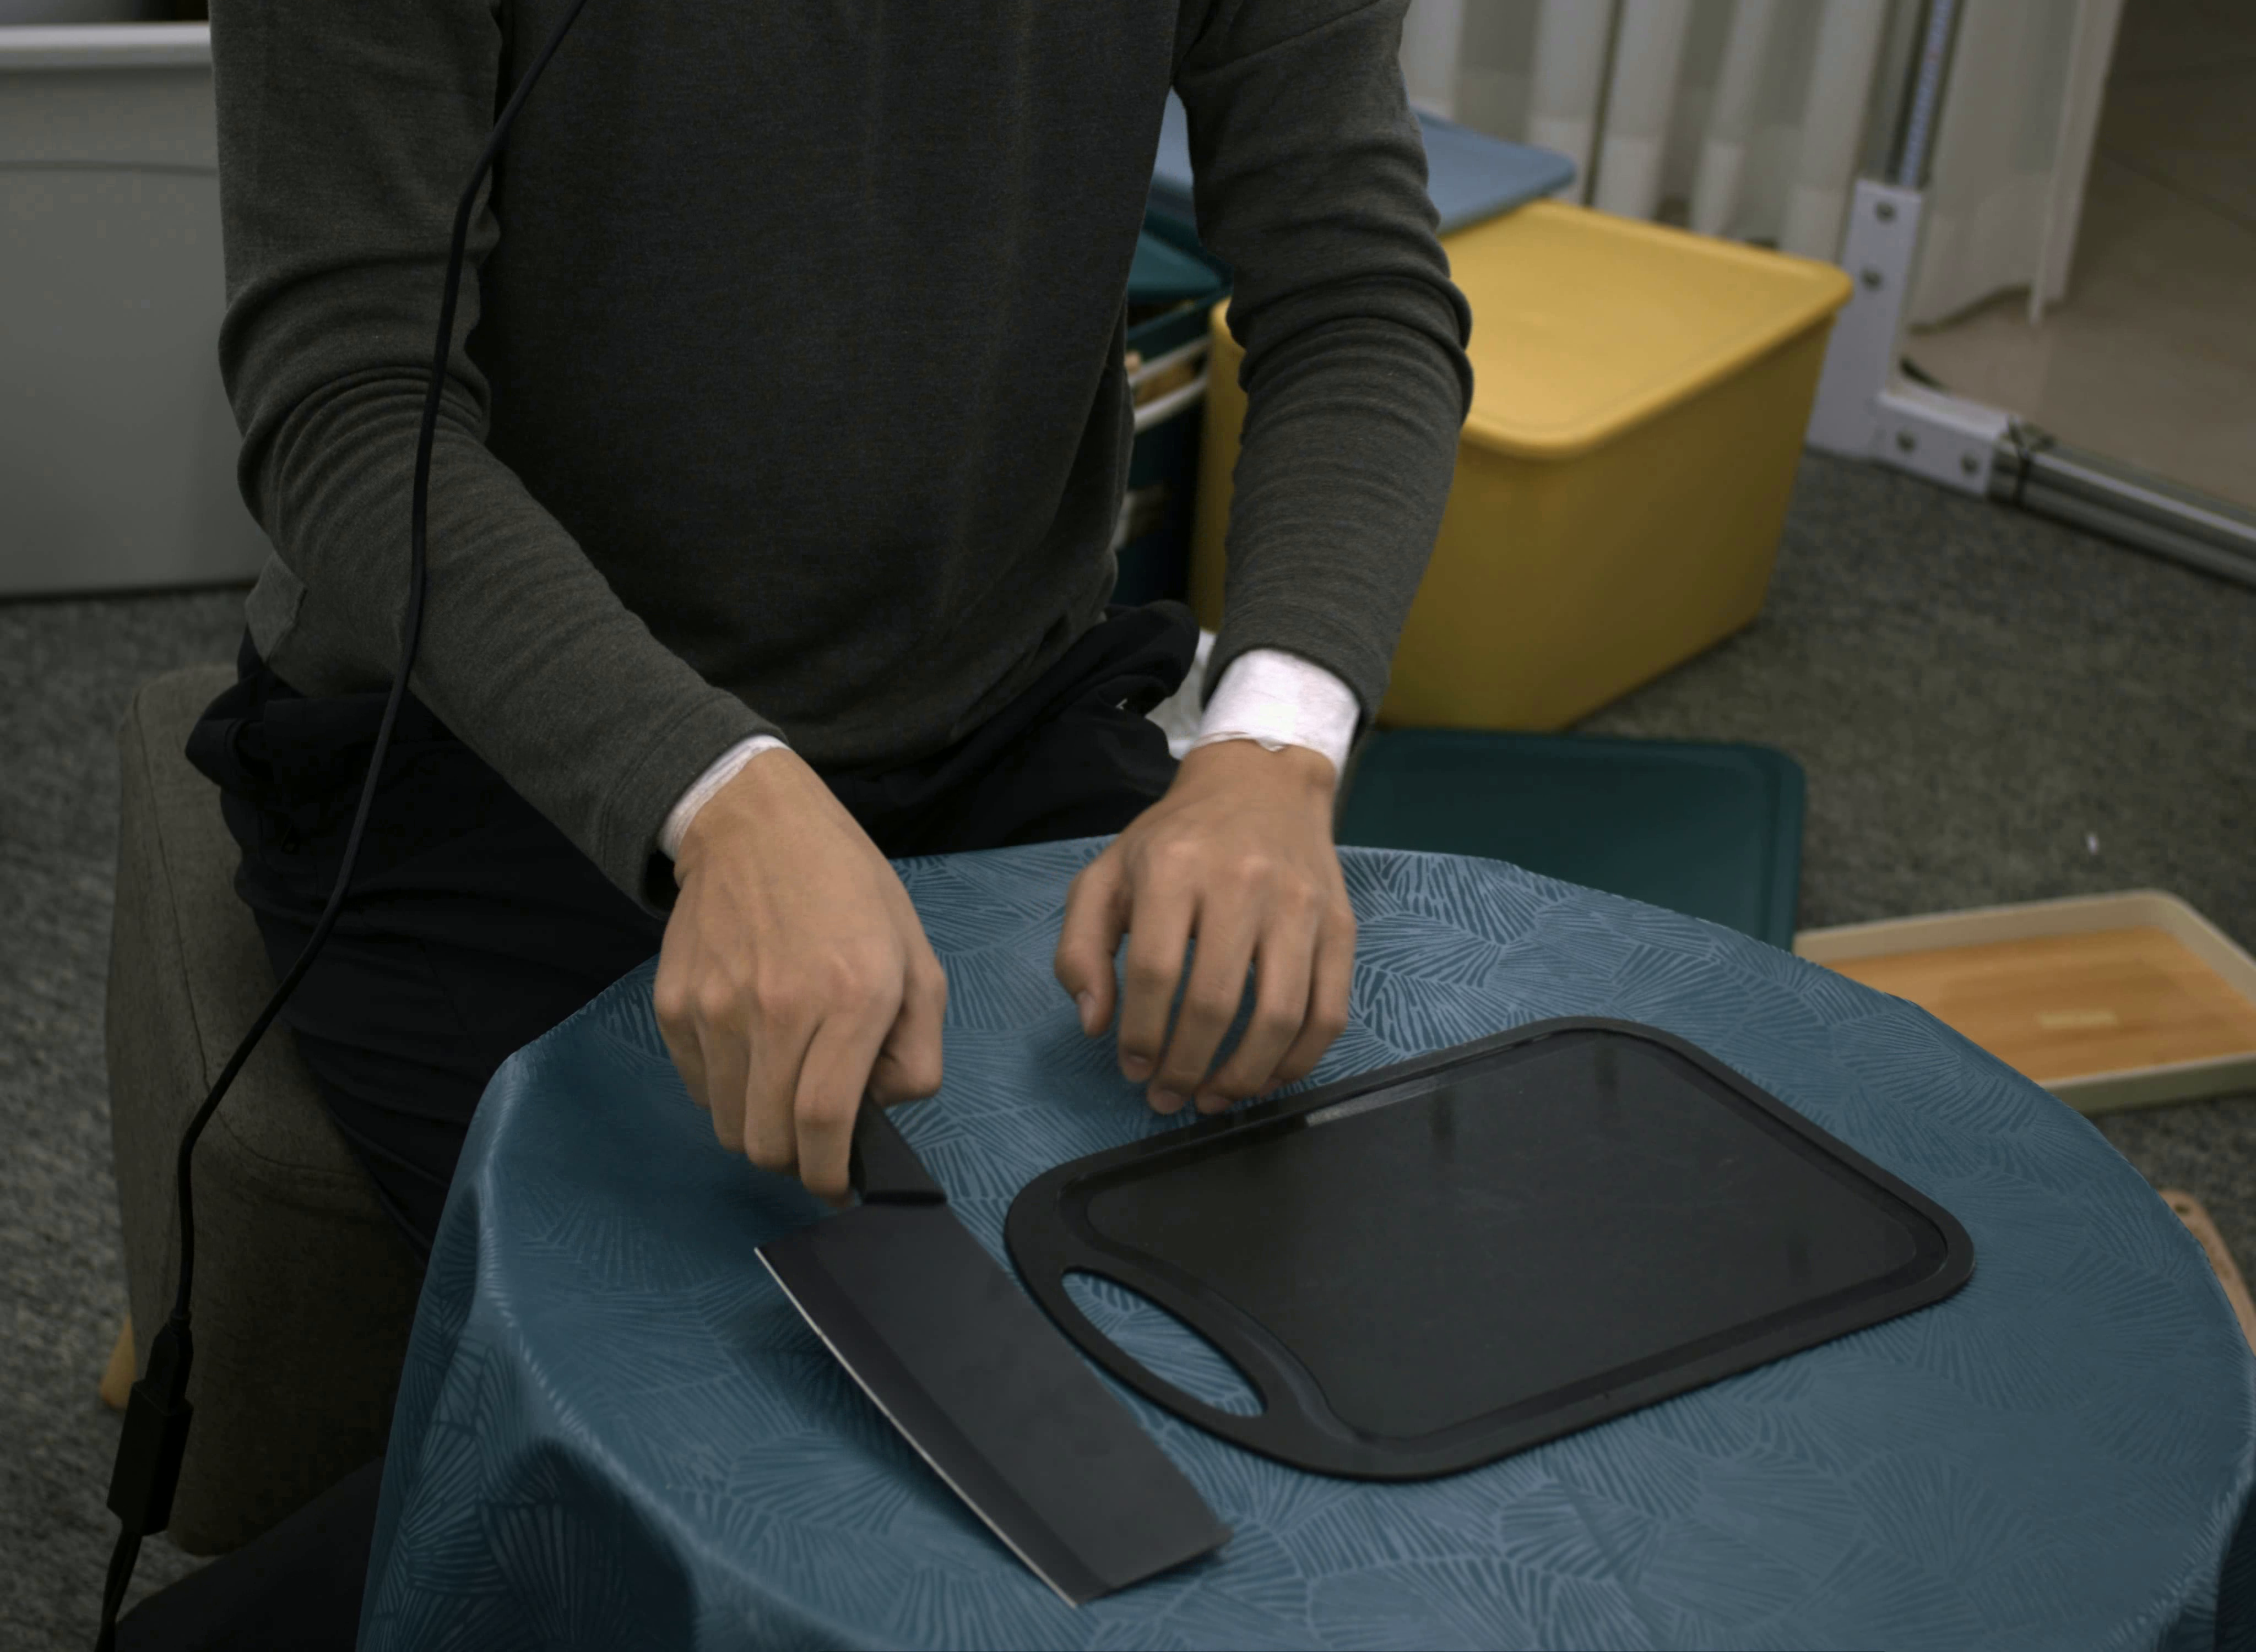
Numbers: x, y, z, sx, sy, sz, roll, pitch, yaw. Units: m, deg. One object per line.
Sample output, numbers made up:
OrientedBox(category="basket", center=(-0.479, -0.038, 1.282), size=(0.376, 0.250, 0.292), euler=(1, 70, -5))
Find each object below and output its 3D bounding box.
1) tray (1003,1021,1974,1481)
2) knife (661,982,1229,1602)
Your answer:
OrientedBox(category="tray", center=(0.118, 0.139, 1.796), size=(0.323, 0.010, 0.213), euler=(-14, 32, -34))
OrientedBox(category="knife", center=(-0.073, 0.143, 1.696), size=(0.080, 0.021, 0.305), euler=(-13, 41, -27))
